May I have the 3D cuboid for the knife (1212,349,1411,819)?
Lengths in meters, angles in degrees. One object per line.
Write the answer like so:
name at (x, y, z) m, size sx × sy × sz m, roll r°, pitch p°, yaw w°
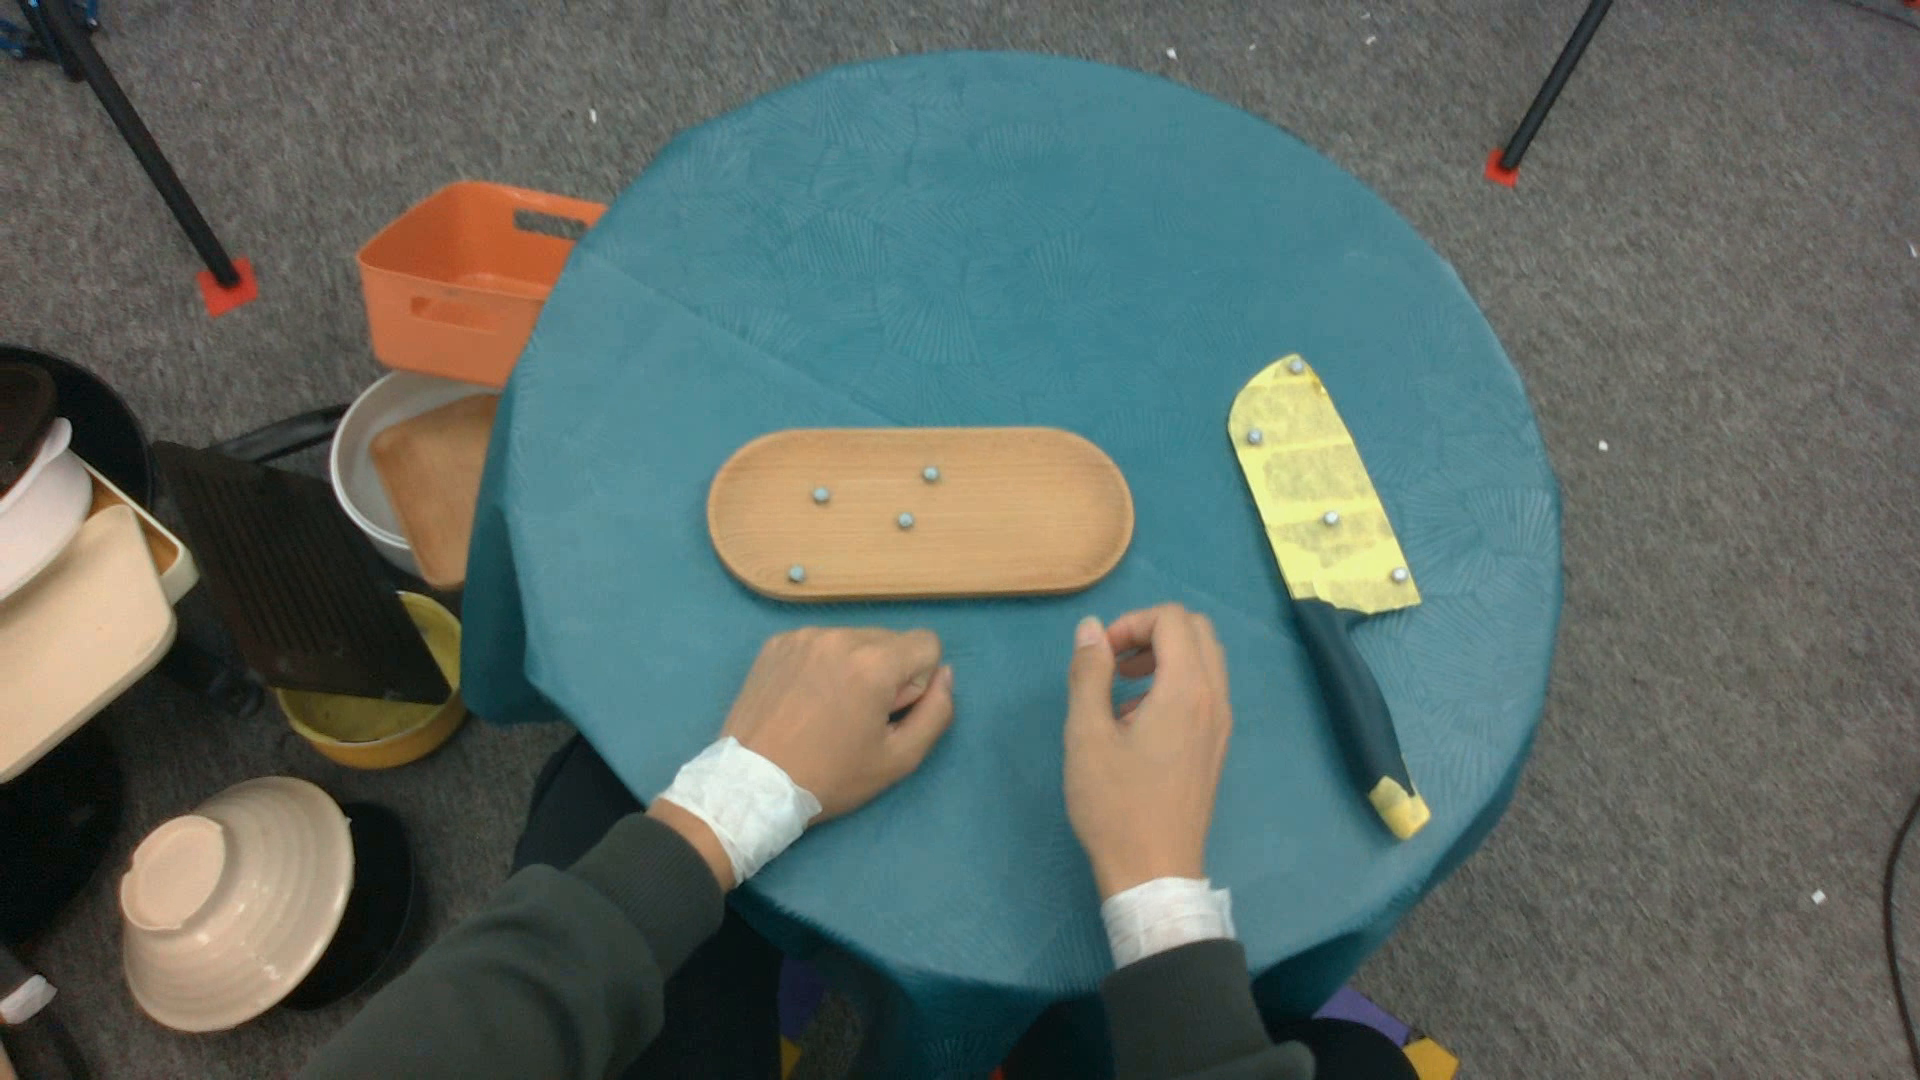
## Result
knife at (0.204, 0.012, 0.764) m, size 0.081 × 0.027 × 0.290 m, roll -6°, pitch 63°, yaw -11°

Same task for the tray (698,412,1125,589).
tray at (-0.024, -0.022, 0.746) m, size 0.231 × 0.020 × 0.102 m, roll -1°, pitch 65°, yaw -11°
